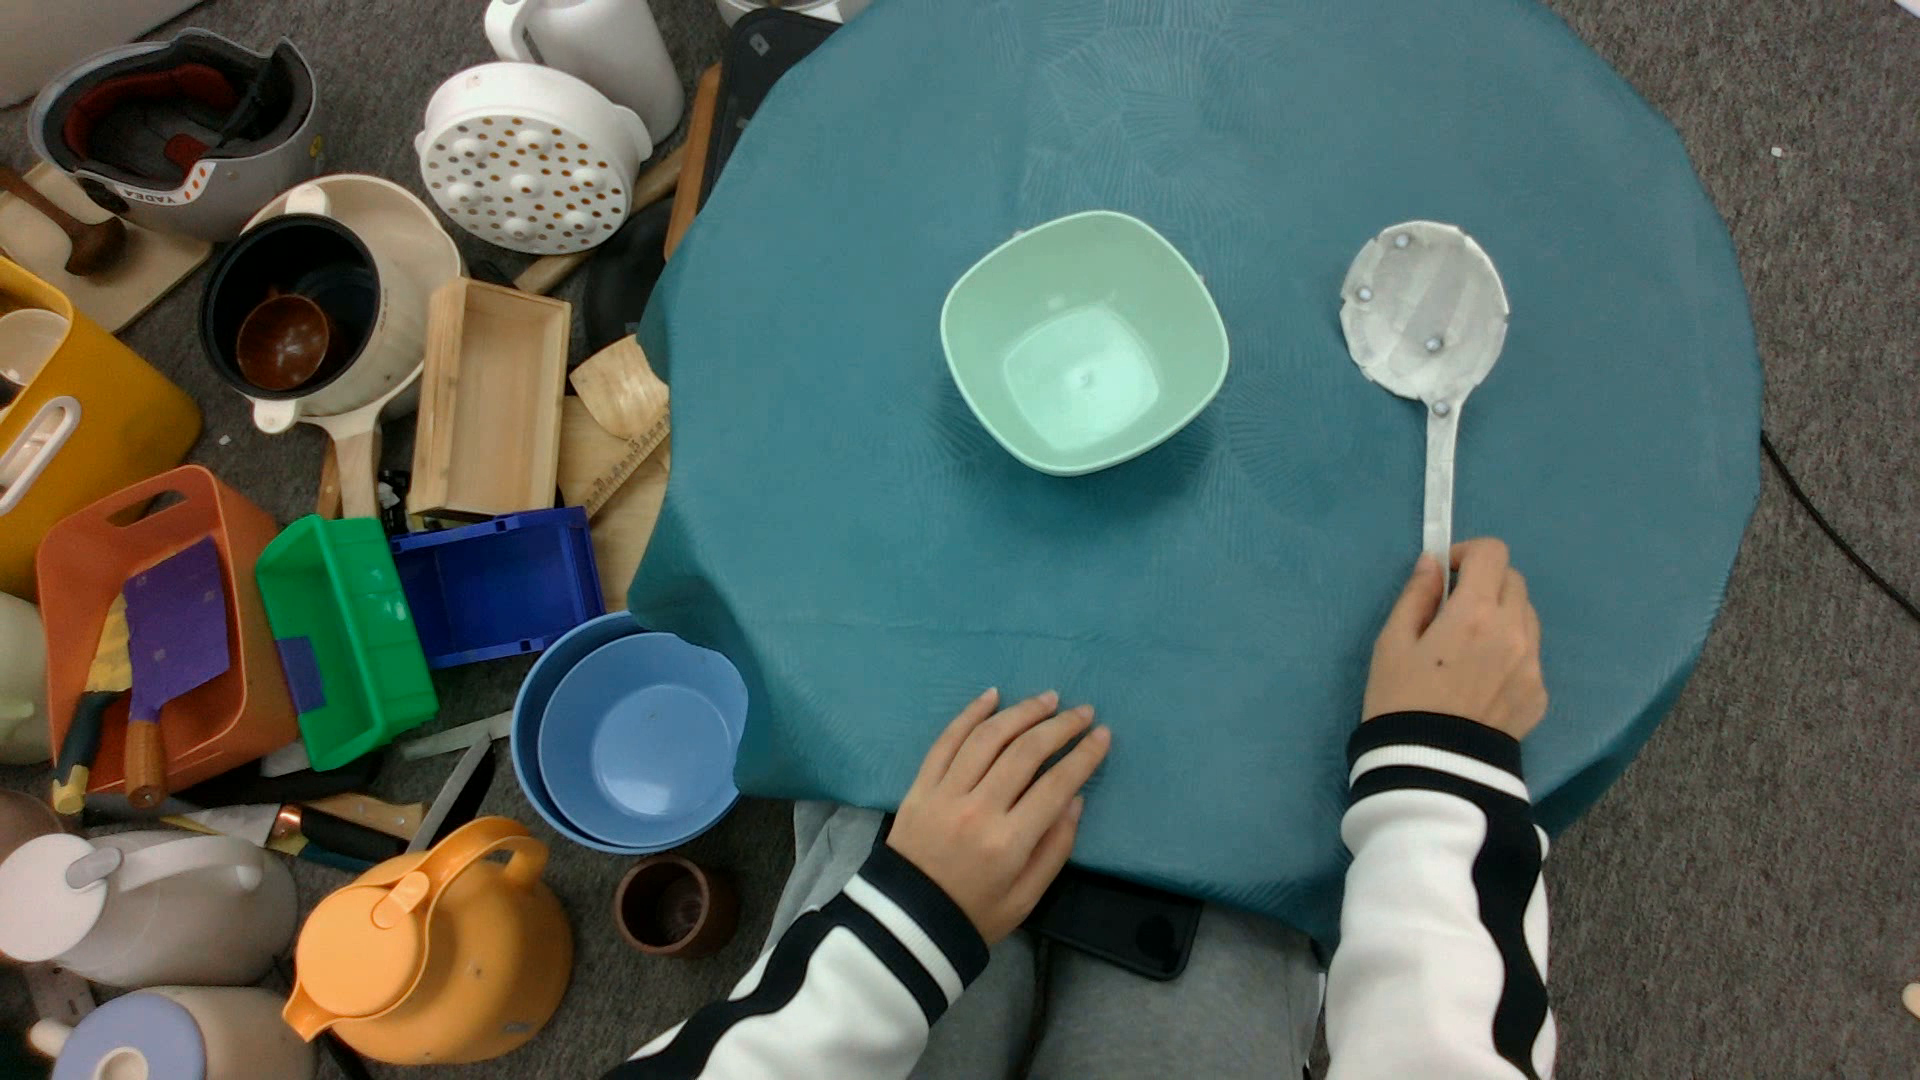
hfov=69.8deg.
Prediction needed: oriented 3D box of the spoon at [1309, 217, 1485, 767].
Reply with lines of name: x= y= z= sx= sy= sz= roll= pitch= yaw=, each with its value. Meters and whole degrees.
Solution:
spoon: x=0.214 y=-0.027 z=0.706 sx=0.059 sy=0.100 sz=0.278 roll=19 pitch=75 yaw=-35

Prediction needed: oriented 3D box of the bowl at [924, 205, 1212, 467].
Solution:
bowl: x=0.057 y=-0.100 z=0.737 sx=0.151 sy=0.058 sz=0.152 roll=-1 pitch=71 yaw=2
